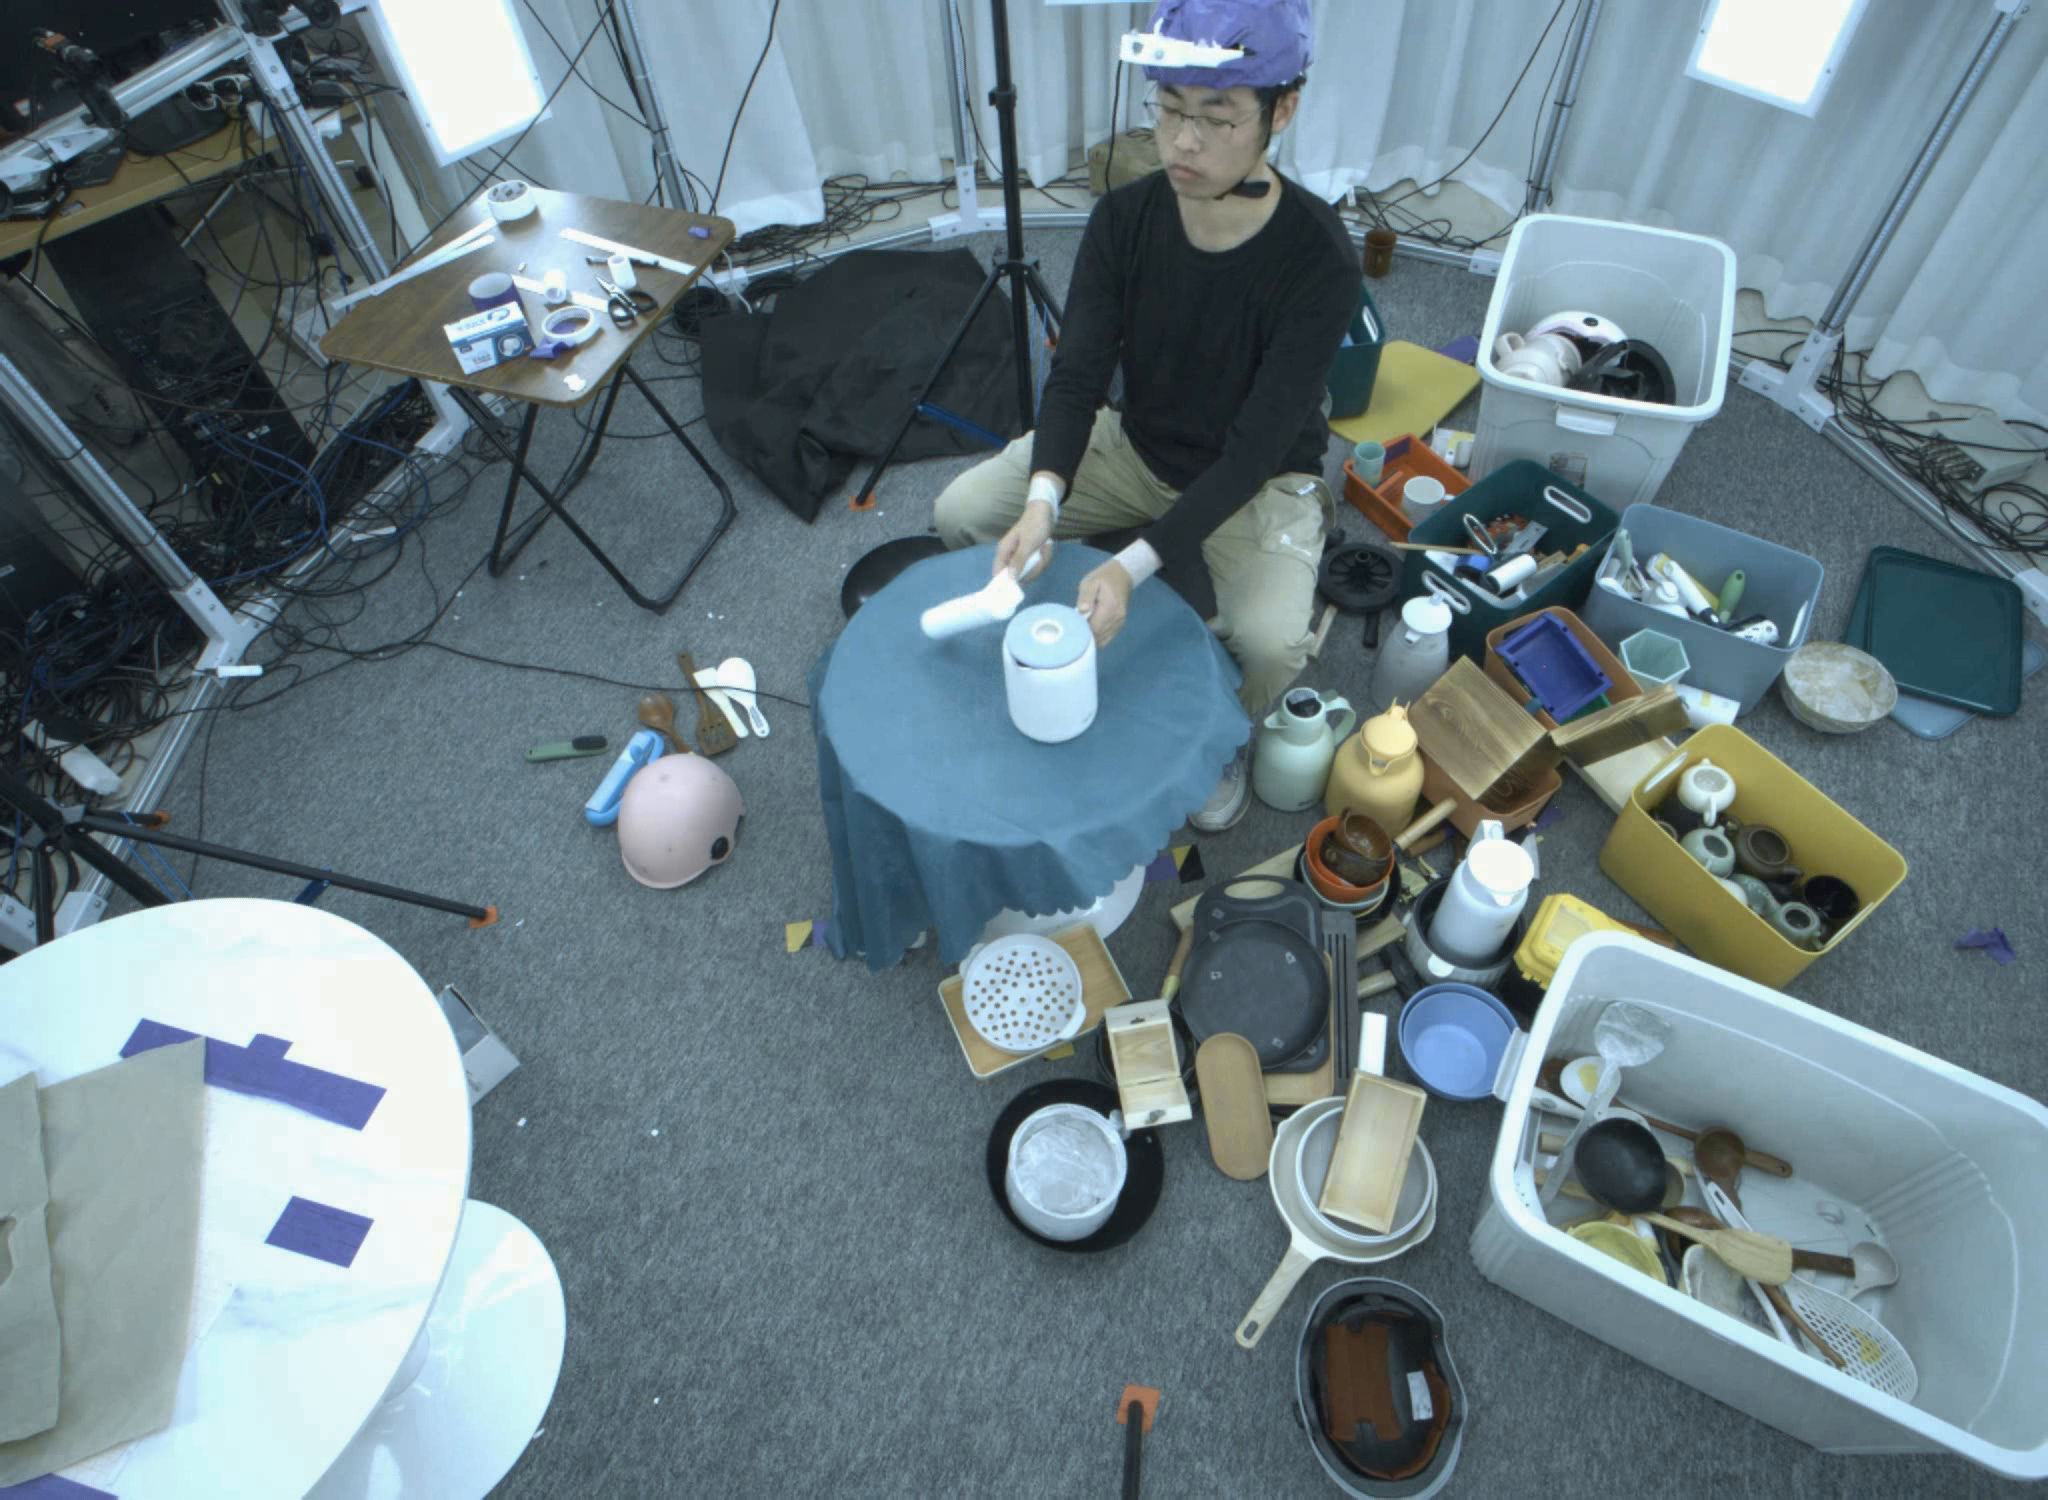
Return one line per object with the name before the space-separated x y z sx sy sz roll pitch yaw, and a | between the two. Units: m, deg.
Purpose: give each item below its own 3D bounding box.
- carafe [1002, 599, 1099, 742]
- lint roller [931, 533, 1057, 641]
carafe | 0.052 -0.126 1.769 0.130 0.184 0.192 29 59 21
lint roller | -0.025 -0.262 1.841 0.049 0.199 0.226 48 60 -17
